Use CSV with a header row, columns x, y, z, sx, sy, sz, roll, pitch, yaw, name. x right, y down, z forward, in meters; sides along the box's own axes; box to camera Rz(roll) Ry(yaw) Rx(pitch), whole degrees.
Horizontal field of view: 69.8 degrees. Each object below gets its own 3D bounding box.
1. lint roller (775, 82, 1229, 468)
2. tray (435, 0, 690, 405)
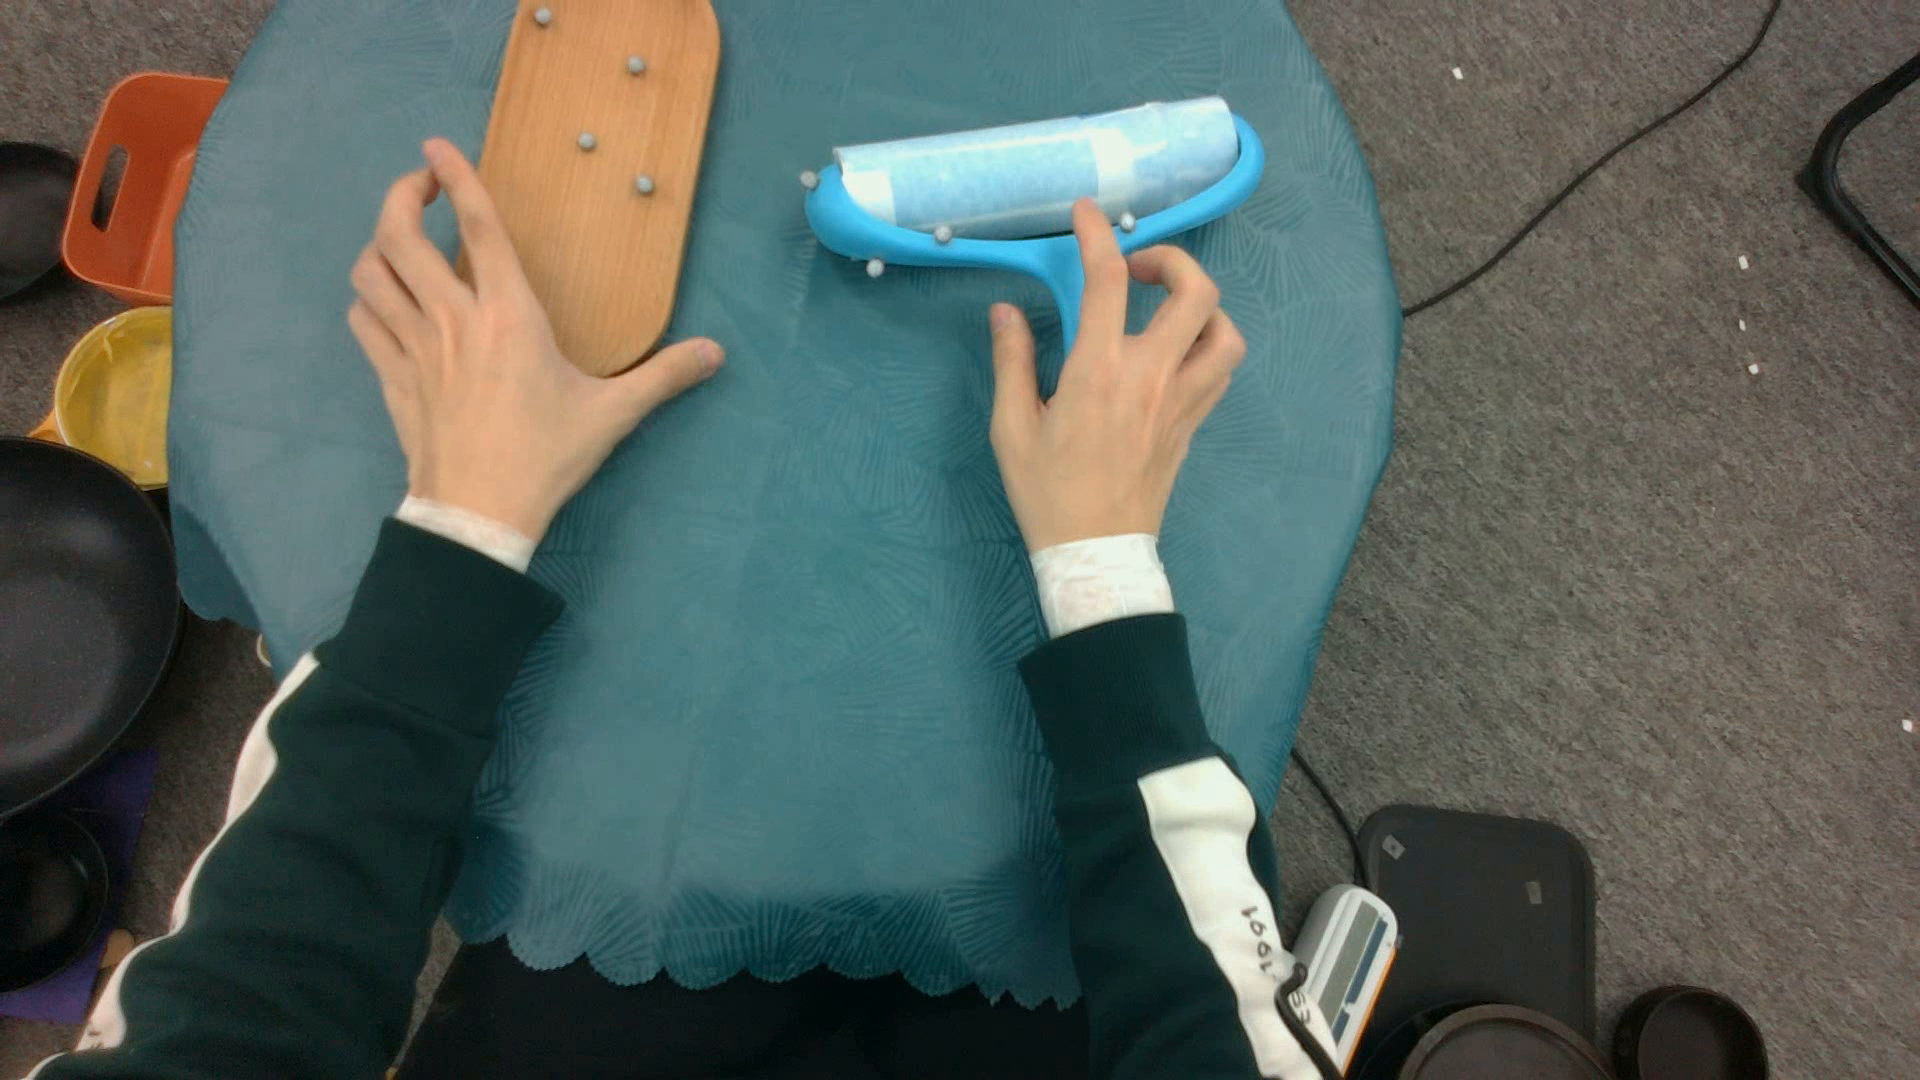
x,y,z,sx,sy,sz,roll,pitch,yaw,name
0.039,-0.128,0.667,0.229,0.068,0.180,-15,78,-12,lint roller
-0.191,-0.175,0.671,0.102,0.020,0.231,6,77,-5,tray
